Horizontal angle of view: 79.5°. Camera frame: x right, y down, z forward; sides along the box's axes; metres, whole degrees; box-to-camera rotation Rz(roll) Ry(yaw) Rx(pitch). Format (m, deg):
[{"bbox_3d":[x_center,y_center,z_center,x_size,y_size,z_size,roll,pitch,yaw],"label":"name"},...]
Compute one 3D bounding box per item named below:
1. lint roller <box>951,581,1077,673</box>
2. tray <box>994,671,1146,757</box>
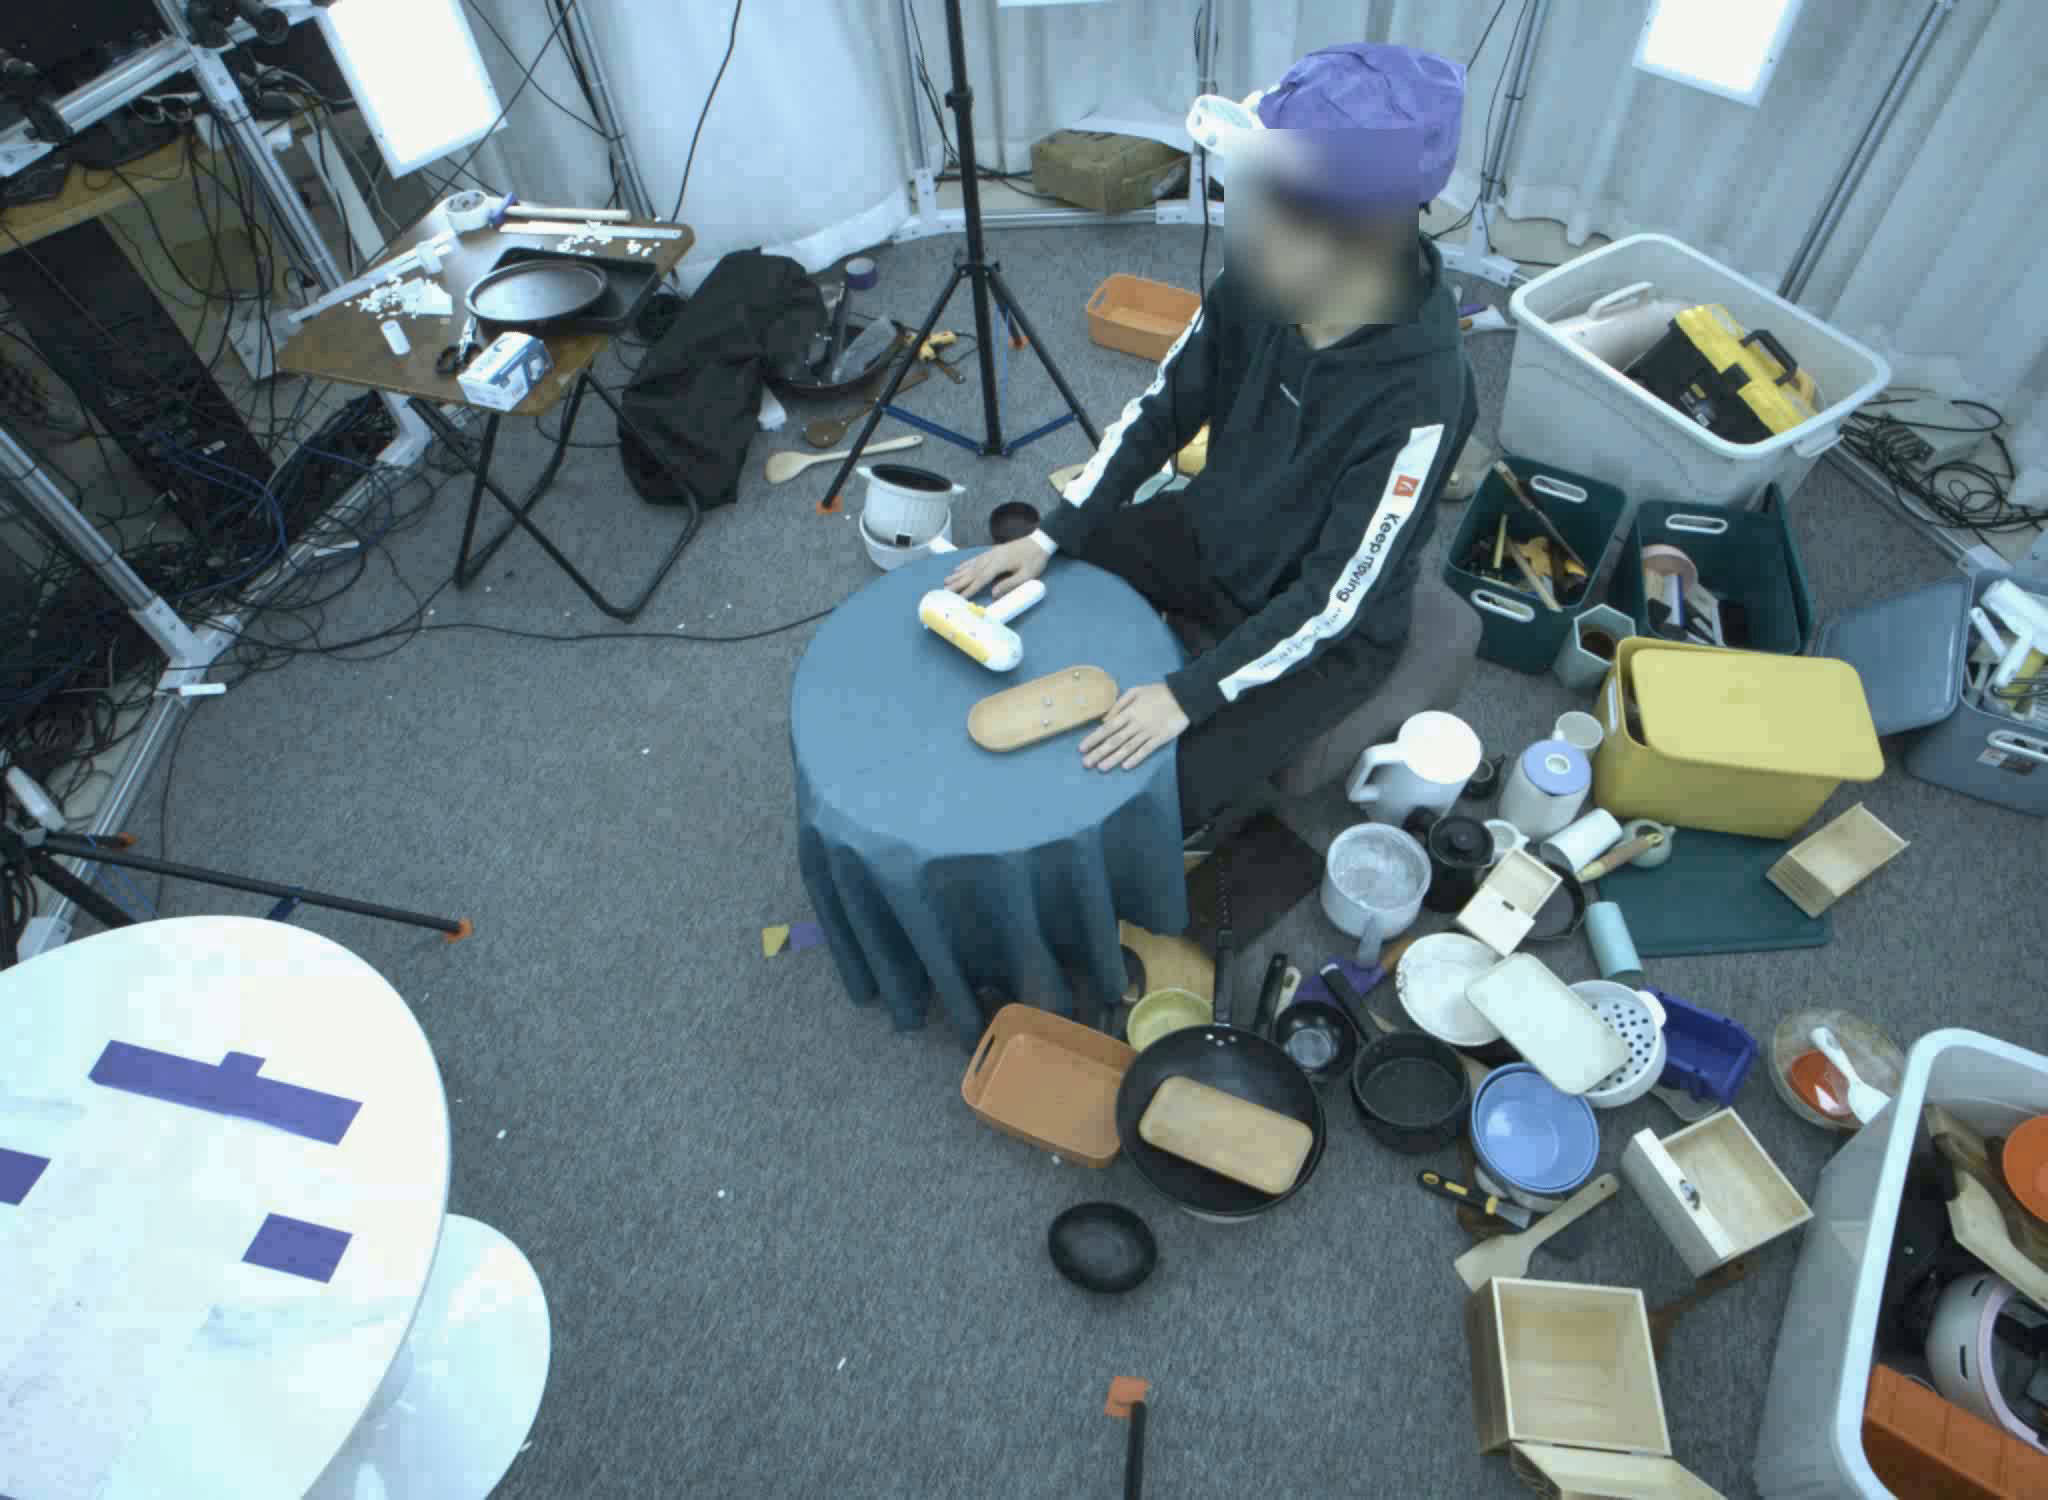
[{"bbox_3d":[0.009,-0.206,1.900,0.189,0.074,0.195,32,42,29],"label":"lint roller"},{"bbox_3d":[0.068,-0.053,1.808,0.232,0.020,0.100,-20,55,-10],"label":"tray"}]
